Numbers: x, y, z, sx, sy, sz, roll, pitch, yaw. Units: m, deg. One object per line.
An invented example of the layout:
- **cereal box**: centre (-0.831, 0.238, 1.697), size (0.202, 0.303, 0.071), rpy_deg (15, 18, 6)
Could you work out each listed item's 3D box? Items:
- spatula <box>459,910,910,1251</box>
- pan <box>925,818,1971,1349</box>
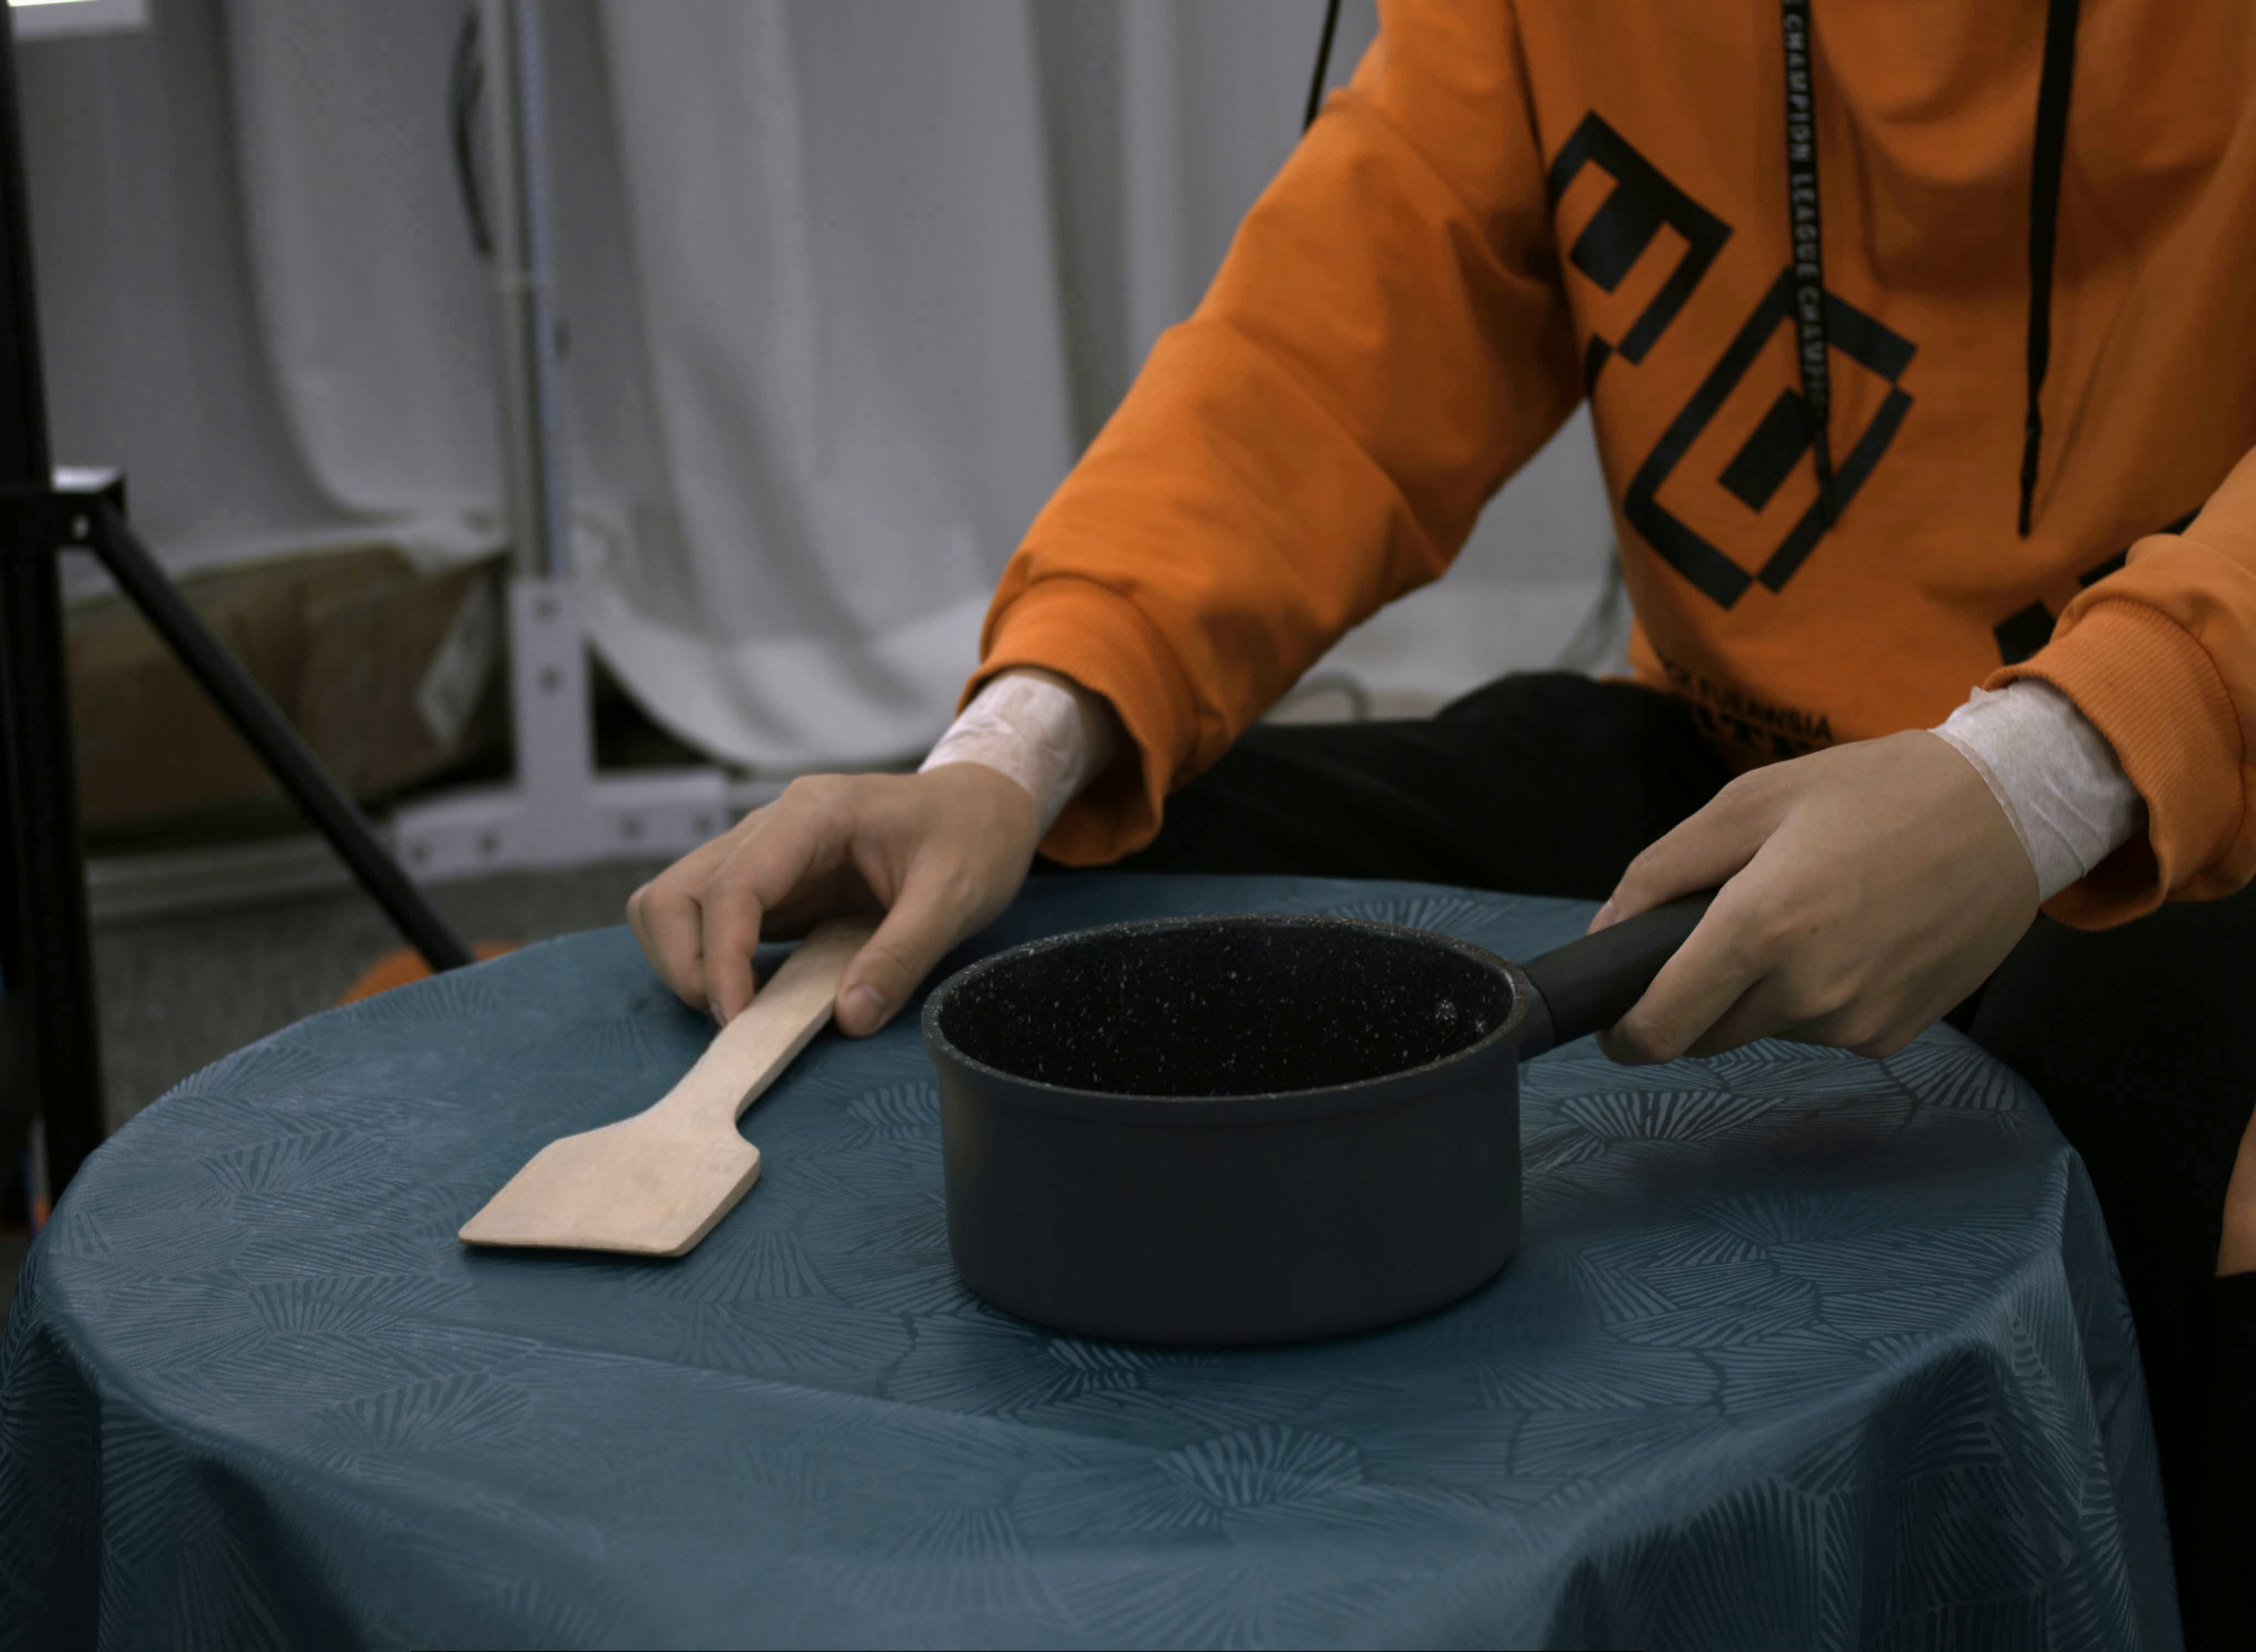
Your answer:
- **spatula**: centre (-0.124, 0.077, 1.659), size (0.073, 0.010, 0.291), rpy_deg (0, 18, 17)
- **pan**: centre (0.100, 0.069, 1.523), size (0.322, 0.086, 0.175), rpy_deg (-11, 18, -23)
